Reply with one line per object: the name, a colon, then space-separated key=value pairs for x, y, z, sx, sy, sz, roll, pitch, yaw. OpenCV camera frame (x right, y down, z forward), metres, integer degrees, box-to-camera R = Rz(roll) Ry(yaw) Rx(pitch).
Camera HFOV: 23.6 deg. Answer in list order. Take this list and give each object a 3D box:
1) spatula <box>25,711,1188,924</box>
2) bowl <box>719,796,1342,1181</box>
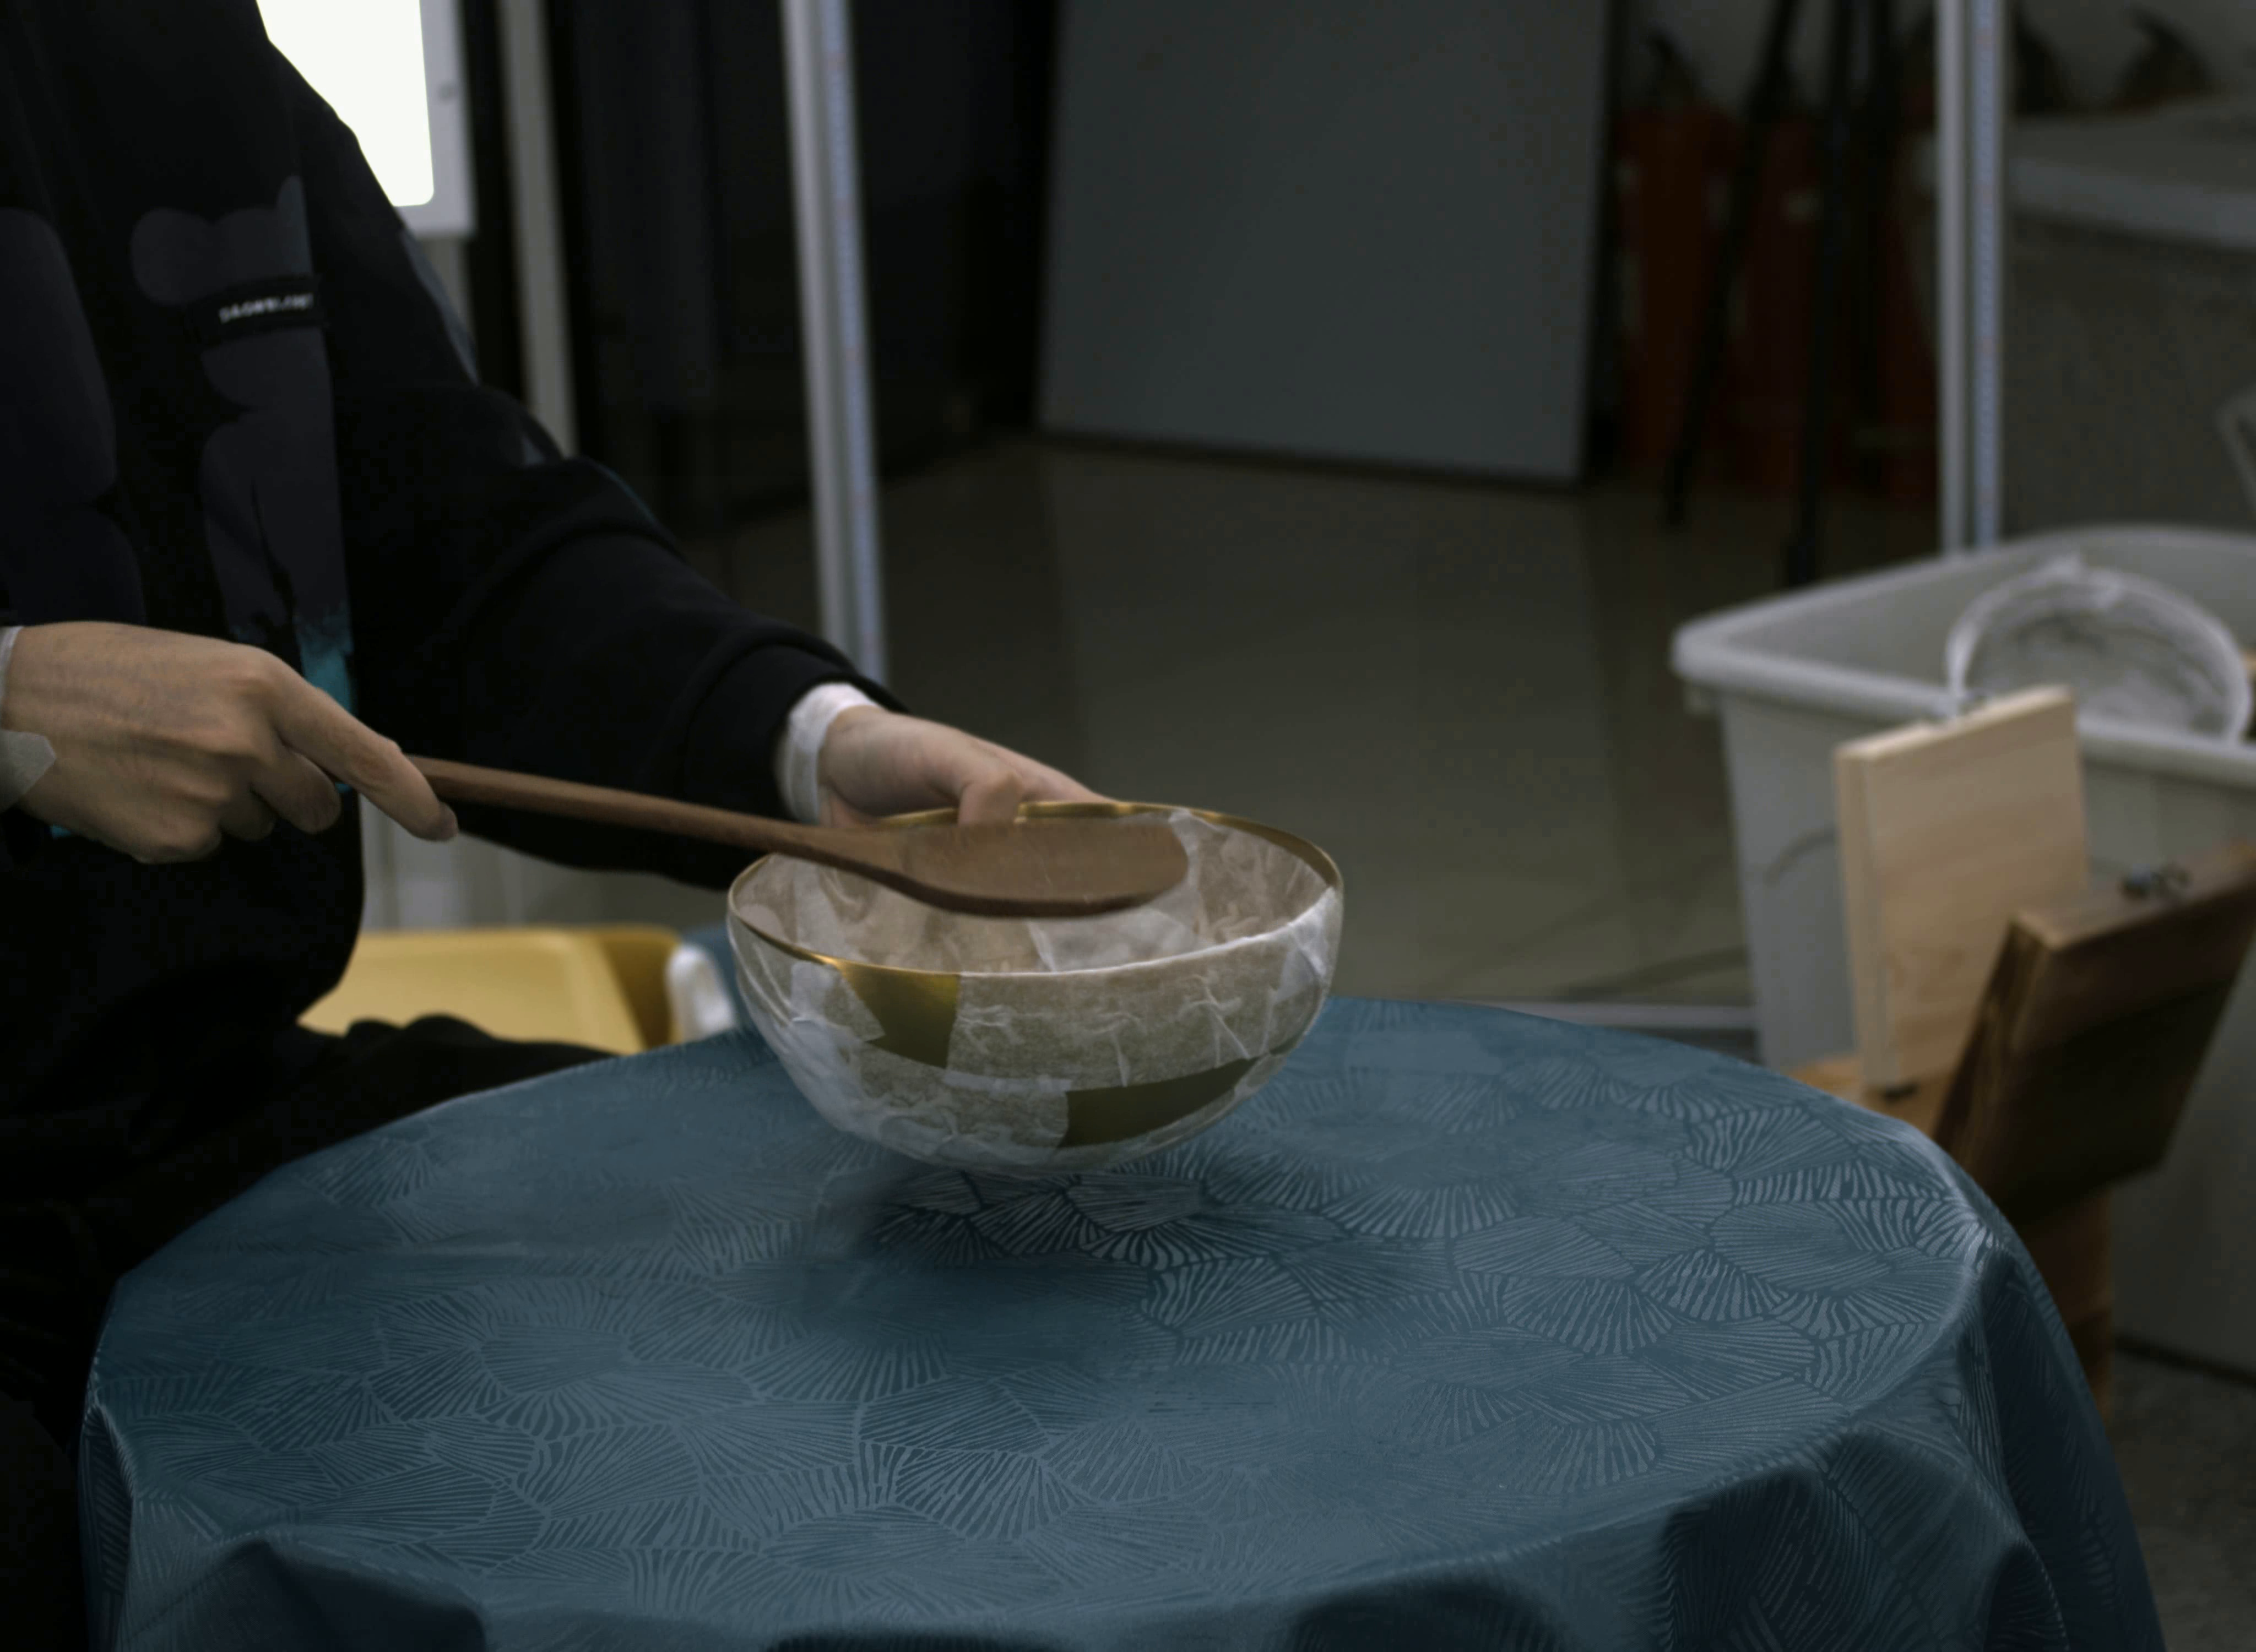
spatula: x=-0.169 y=-0.005 z=1.741 sx=0.382 sy=0.016 sz=0.096 roll=8 pitch=16 yaw=7
bowl: x=-0.029 y=0.059 z=1.746 sx=0.212 sy=0.095 sz=0.215 roll=-5 pitch=15 yaw=0
